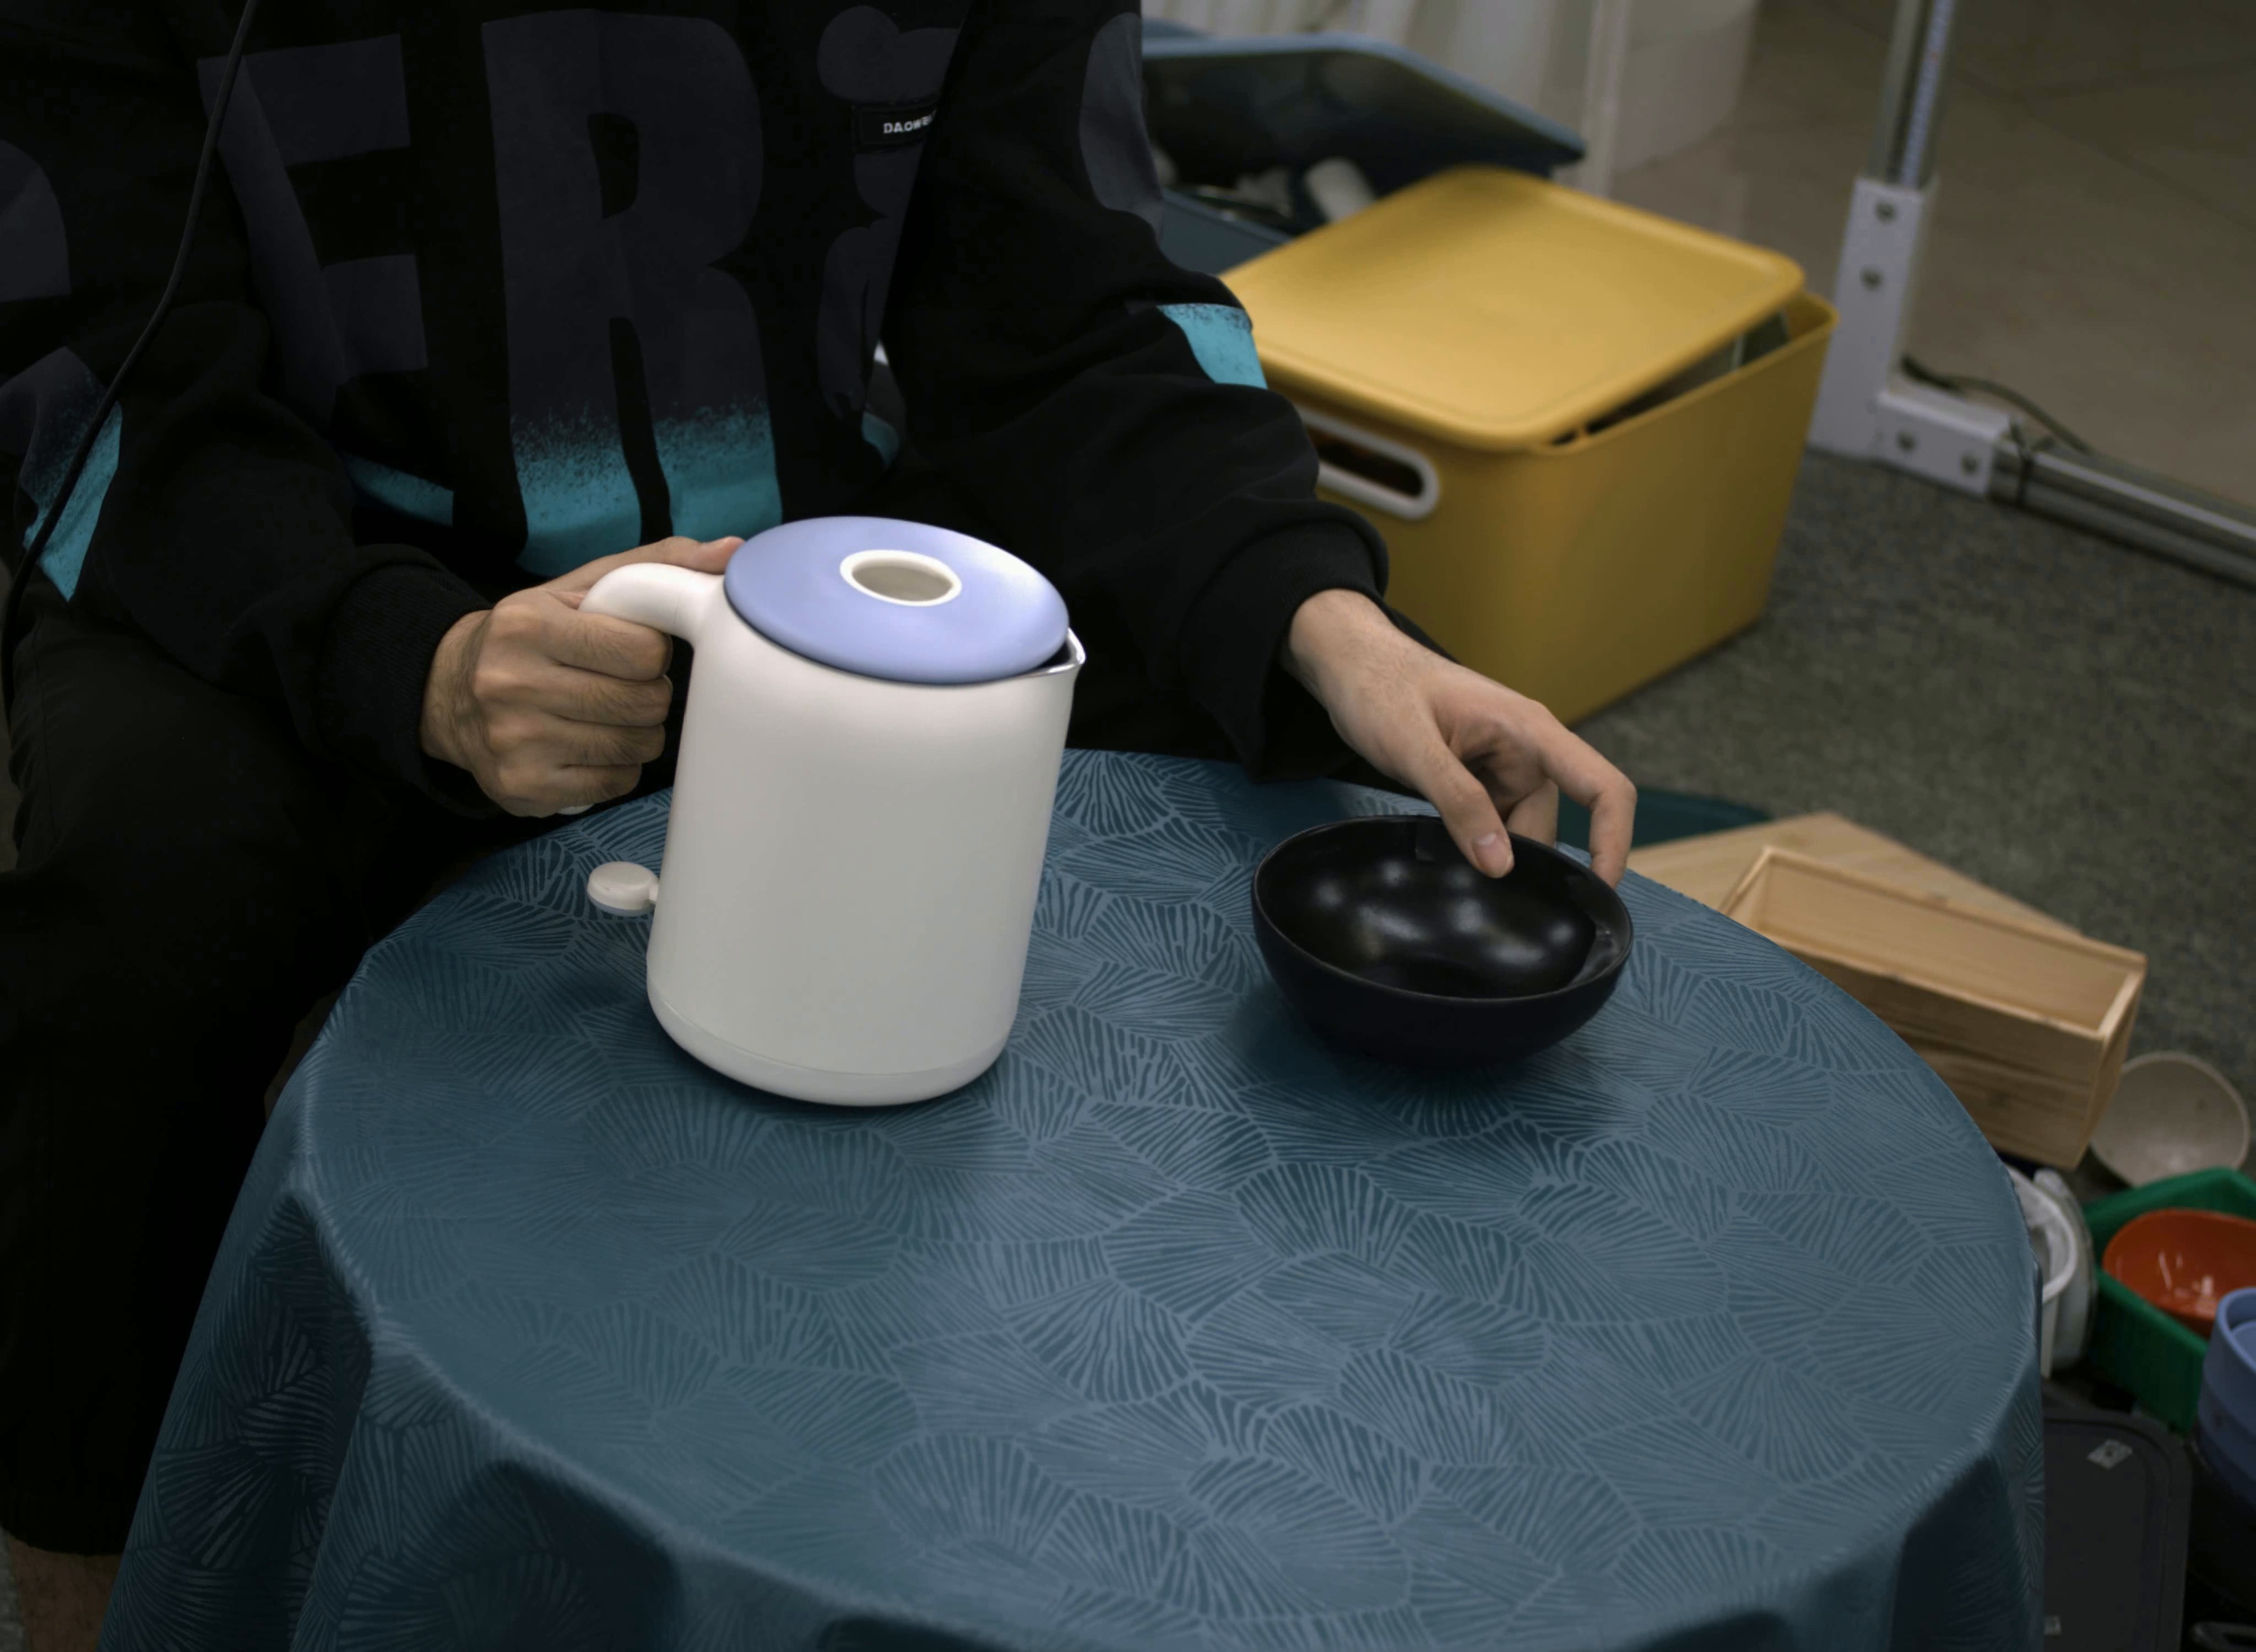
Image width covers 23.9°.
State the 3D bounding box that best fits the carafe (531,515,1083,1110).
[{"bbox_3d":[-0.115,-0.011,1.842,0.191,0.182,0.132,14,25,13],"label":"carafe"}]

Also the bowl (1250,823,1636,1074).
[{"bbox_3d":[0.111,0.051,1.914,0.139,0.049,0.141,4,26,-2],"label":"bowl"}]
